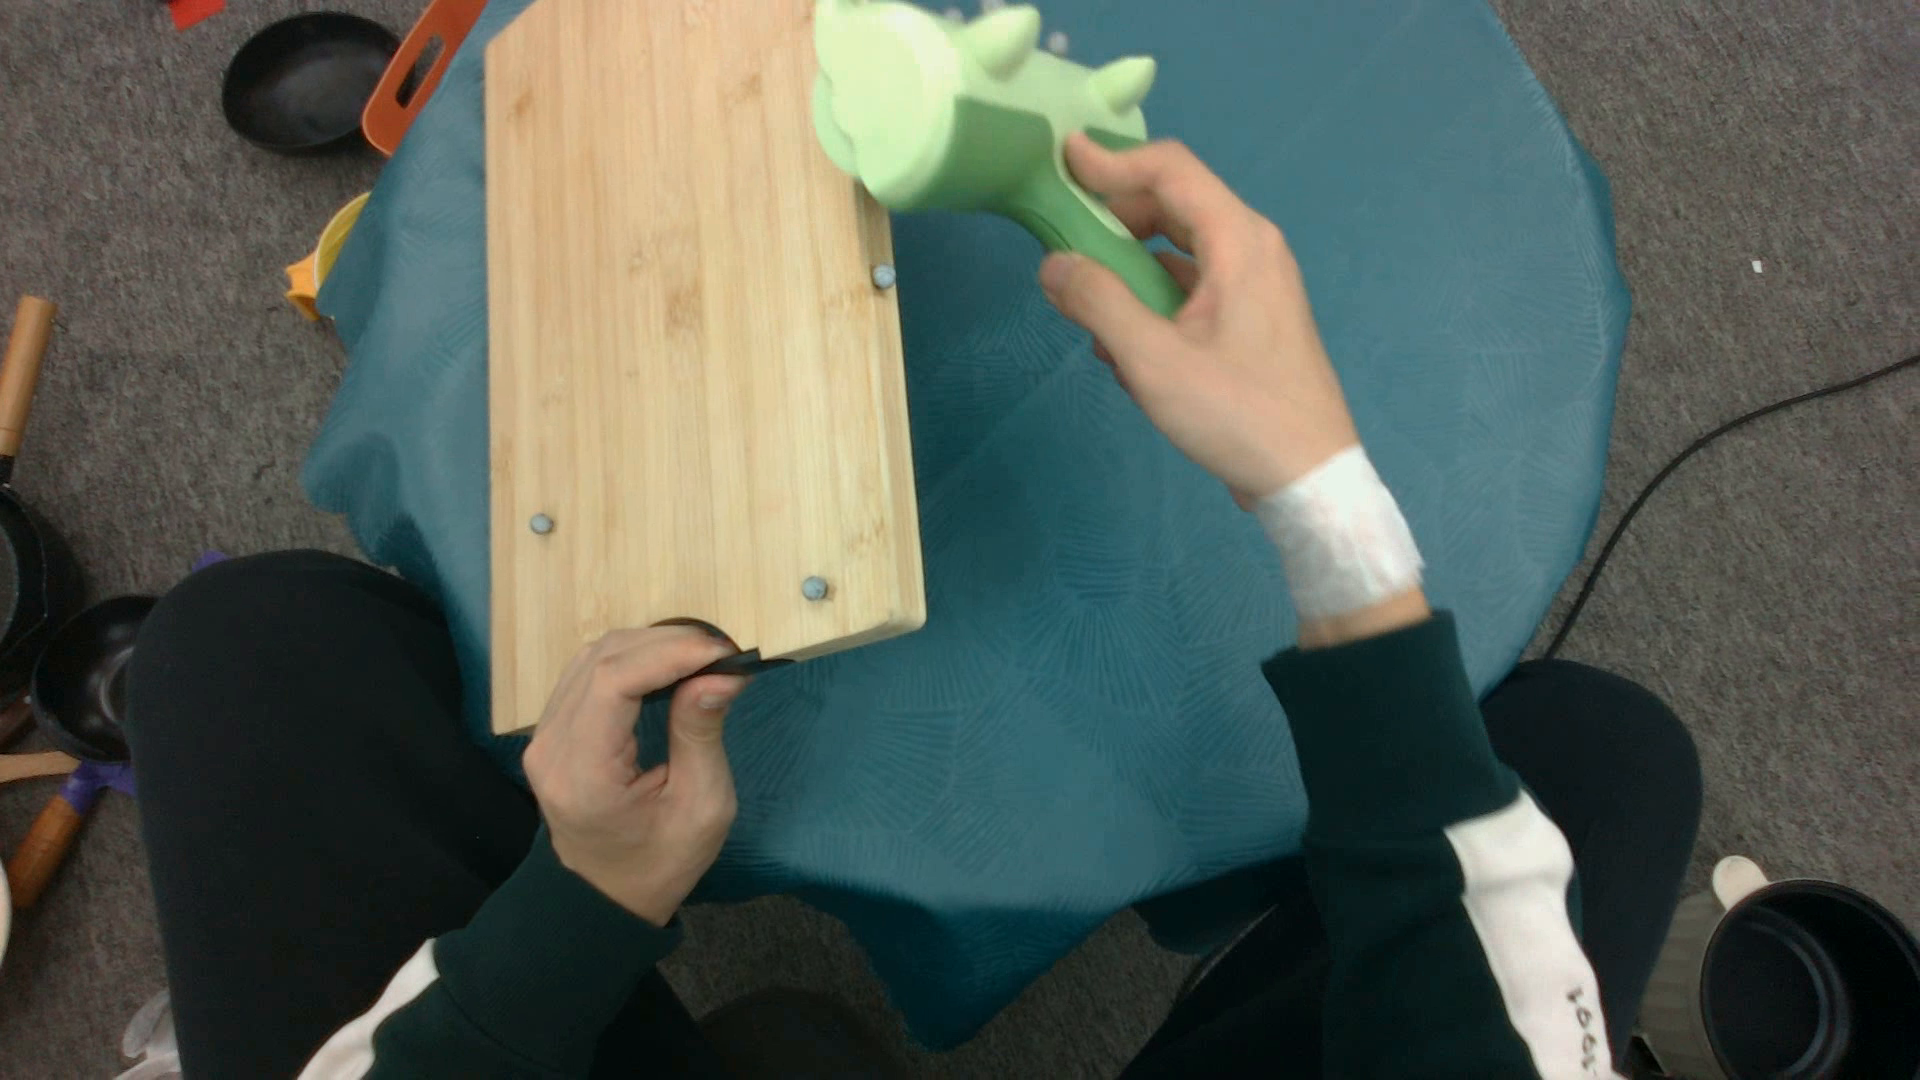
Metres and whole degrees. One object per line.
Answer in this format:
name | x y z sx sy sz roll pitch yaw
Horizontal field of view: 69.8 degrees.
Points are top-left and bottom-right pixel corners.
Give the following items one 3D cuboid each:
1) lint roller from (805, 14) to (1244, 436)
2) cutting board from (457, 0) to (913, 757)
lint roller | 0.053 -0.125 0.509 0.183 0.199 0.082 44 117 11
cutting board | -0.130 -0.103 0.564 0.249 0.023 0.349 -20 70 38
